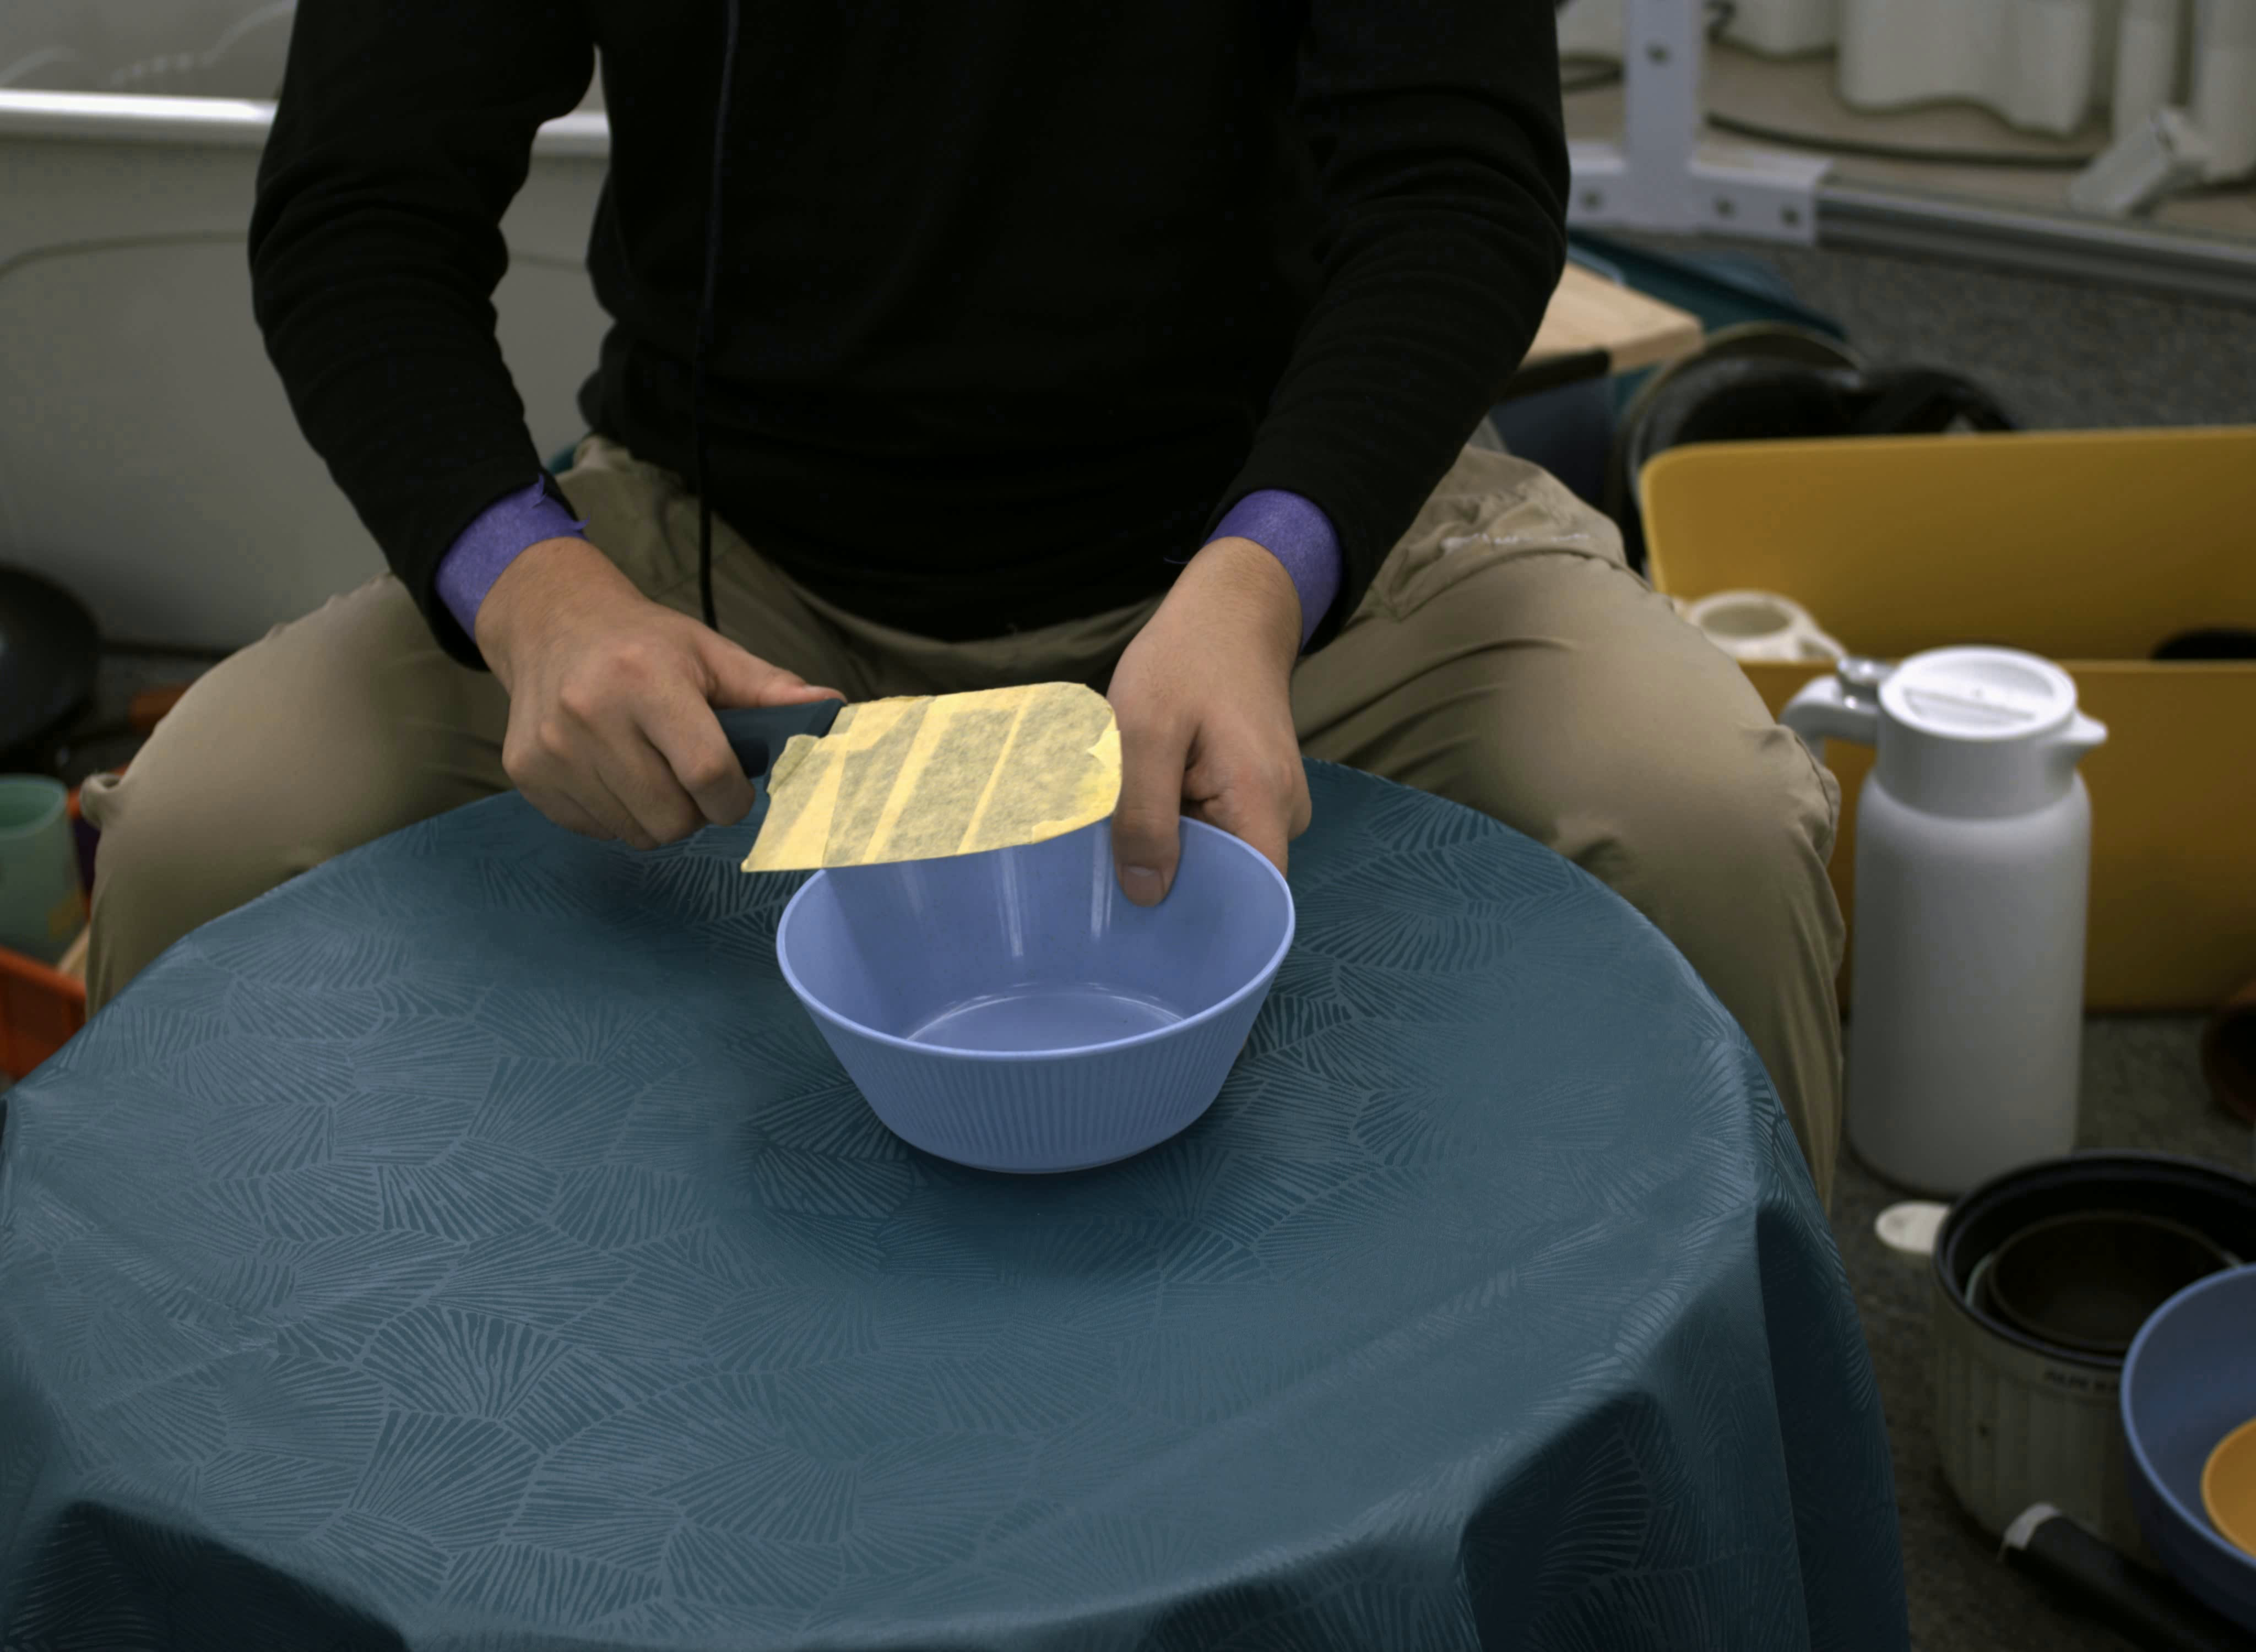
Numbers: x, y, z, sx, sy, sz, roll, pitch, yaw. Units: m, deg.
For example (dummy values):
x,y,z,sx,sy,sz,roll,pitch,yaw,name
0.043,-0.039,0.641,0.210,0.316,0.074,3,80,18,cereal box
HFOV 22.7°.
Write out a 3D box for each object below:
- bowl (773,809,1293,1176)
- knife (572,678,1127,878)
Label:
x,y,z,sx,sy,sz,roll,pitch,yaw,name
-0.031,0.062,1.904,0.175,0.069,0.179,-3,27,2,bowl
-0.102,-0.014,1.964,0.286,0.027,0.082,-4,47,45,knife
